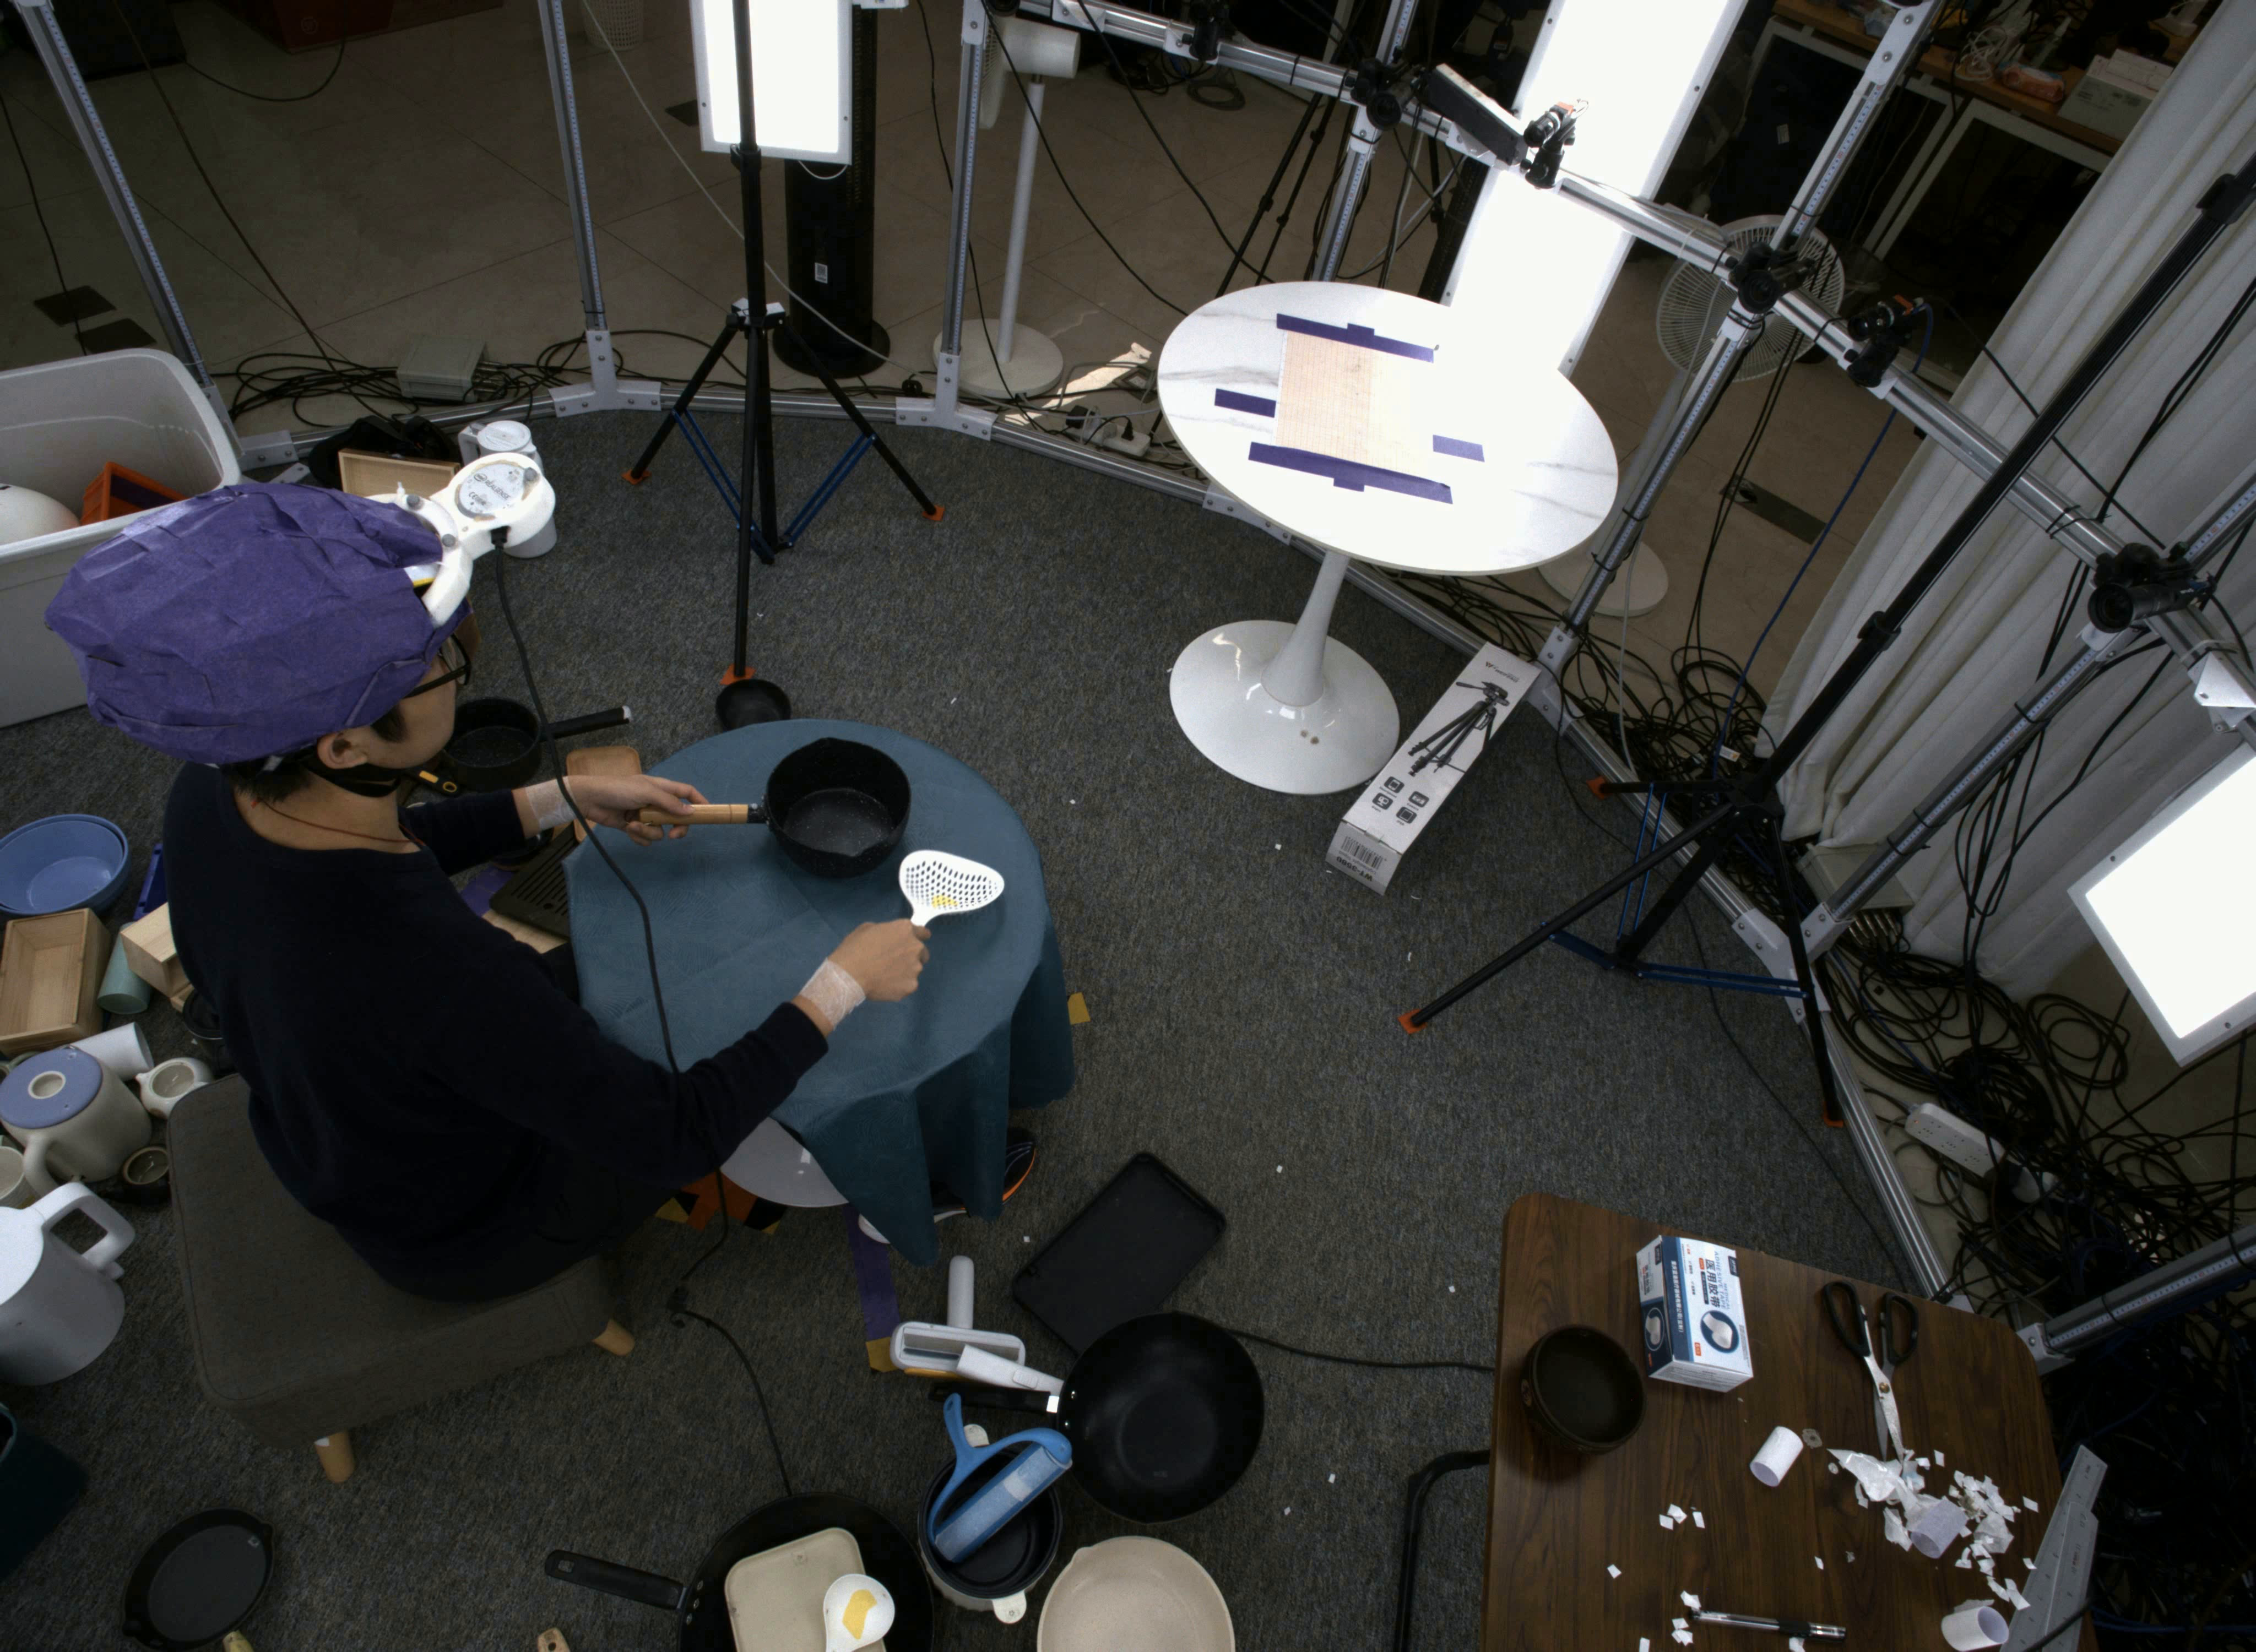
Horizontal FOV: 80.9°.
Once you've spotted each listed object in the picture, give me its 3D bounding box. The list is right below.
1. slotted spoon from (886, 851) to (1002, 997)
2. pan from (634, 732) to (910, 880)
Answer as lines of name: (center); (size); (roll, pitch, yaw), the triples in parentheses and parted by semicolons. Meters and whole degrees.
slotted spoon: (-0.243, 0.111, 1.567); (0.136, 0.051, 0.344); (17, 17, 0)
pan: (-0.449, -0.012, 1.646); (0.345, 0.110, 0.202); (-9, 57, -22)
